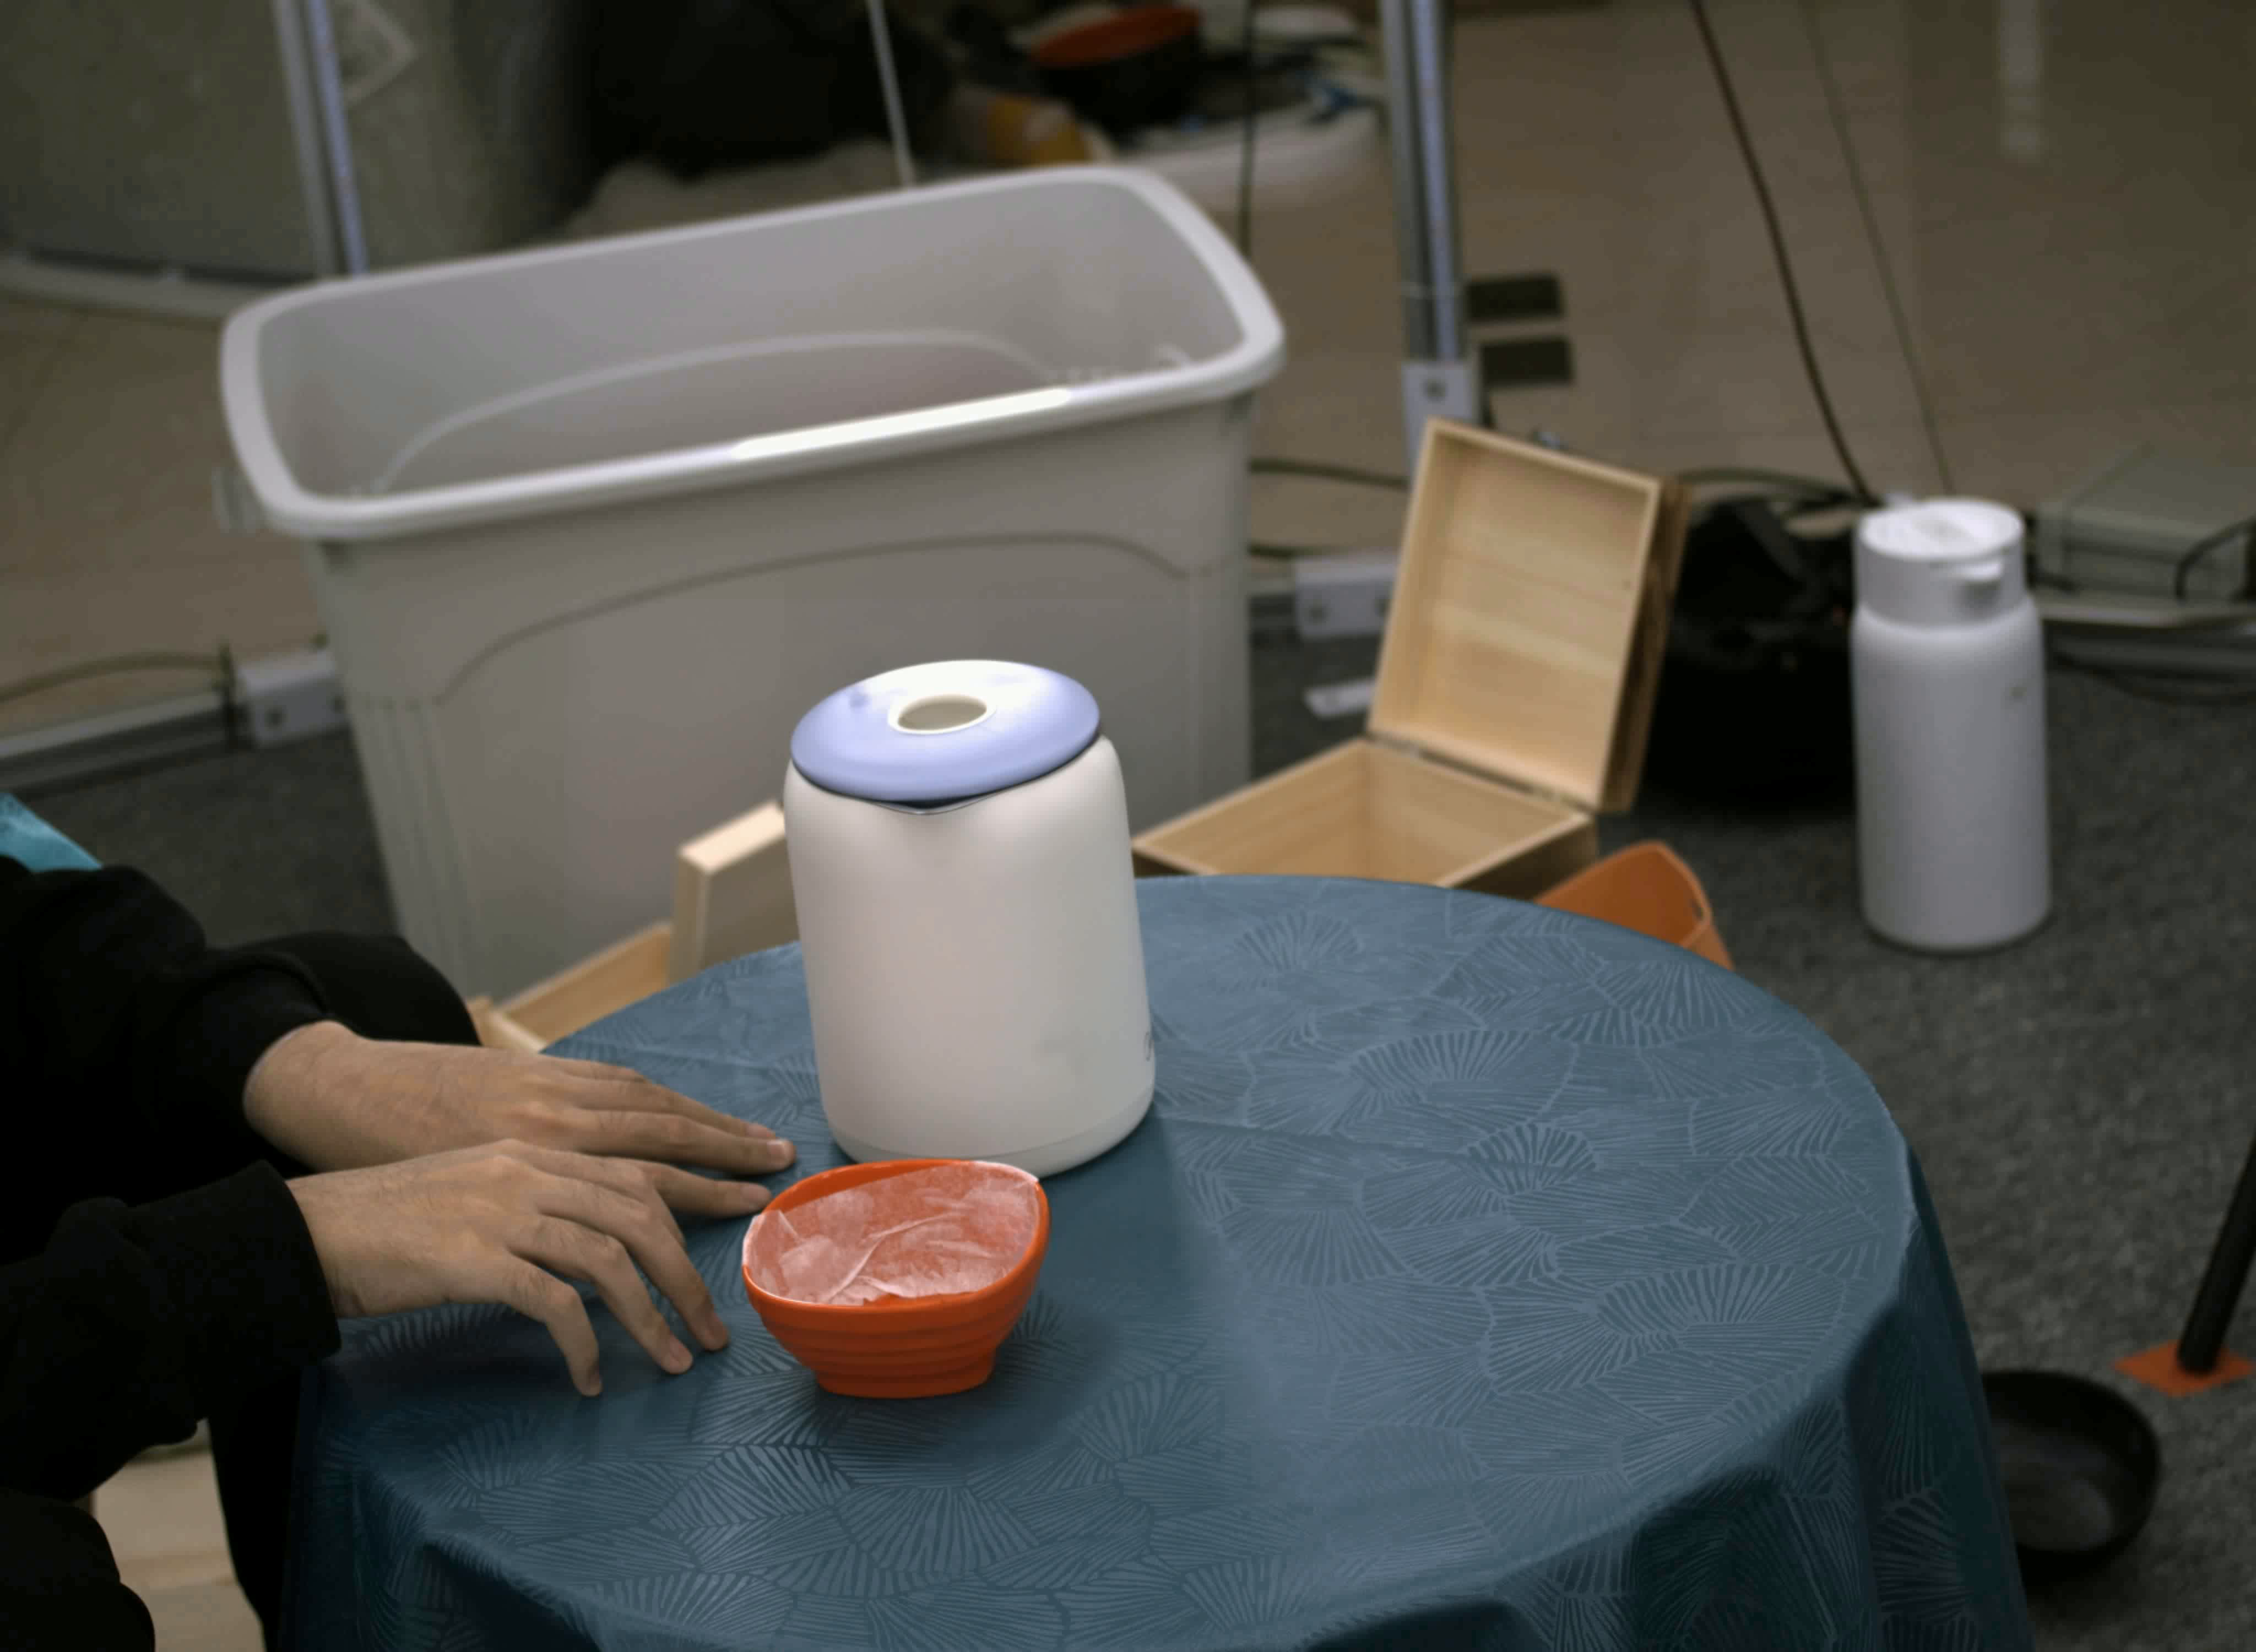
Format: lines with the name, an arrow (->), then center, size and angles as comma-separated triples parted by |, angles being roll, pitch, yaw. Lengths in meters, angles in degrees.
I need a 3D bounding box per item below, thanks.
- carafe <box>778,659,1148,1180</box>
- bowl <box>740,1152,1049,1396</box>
carafe -> -0.062, 0.028, 2.194 | 0.132, 0.185, 0.188 | -3, 23, 3
bowl -> -0.082, 0.166, 2.042 | 0.119, 0.052, 0.117 | -3, 27, 2
